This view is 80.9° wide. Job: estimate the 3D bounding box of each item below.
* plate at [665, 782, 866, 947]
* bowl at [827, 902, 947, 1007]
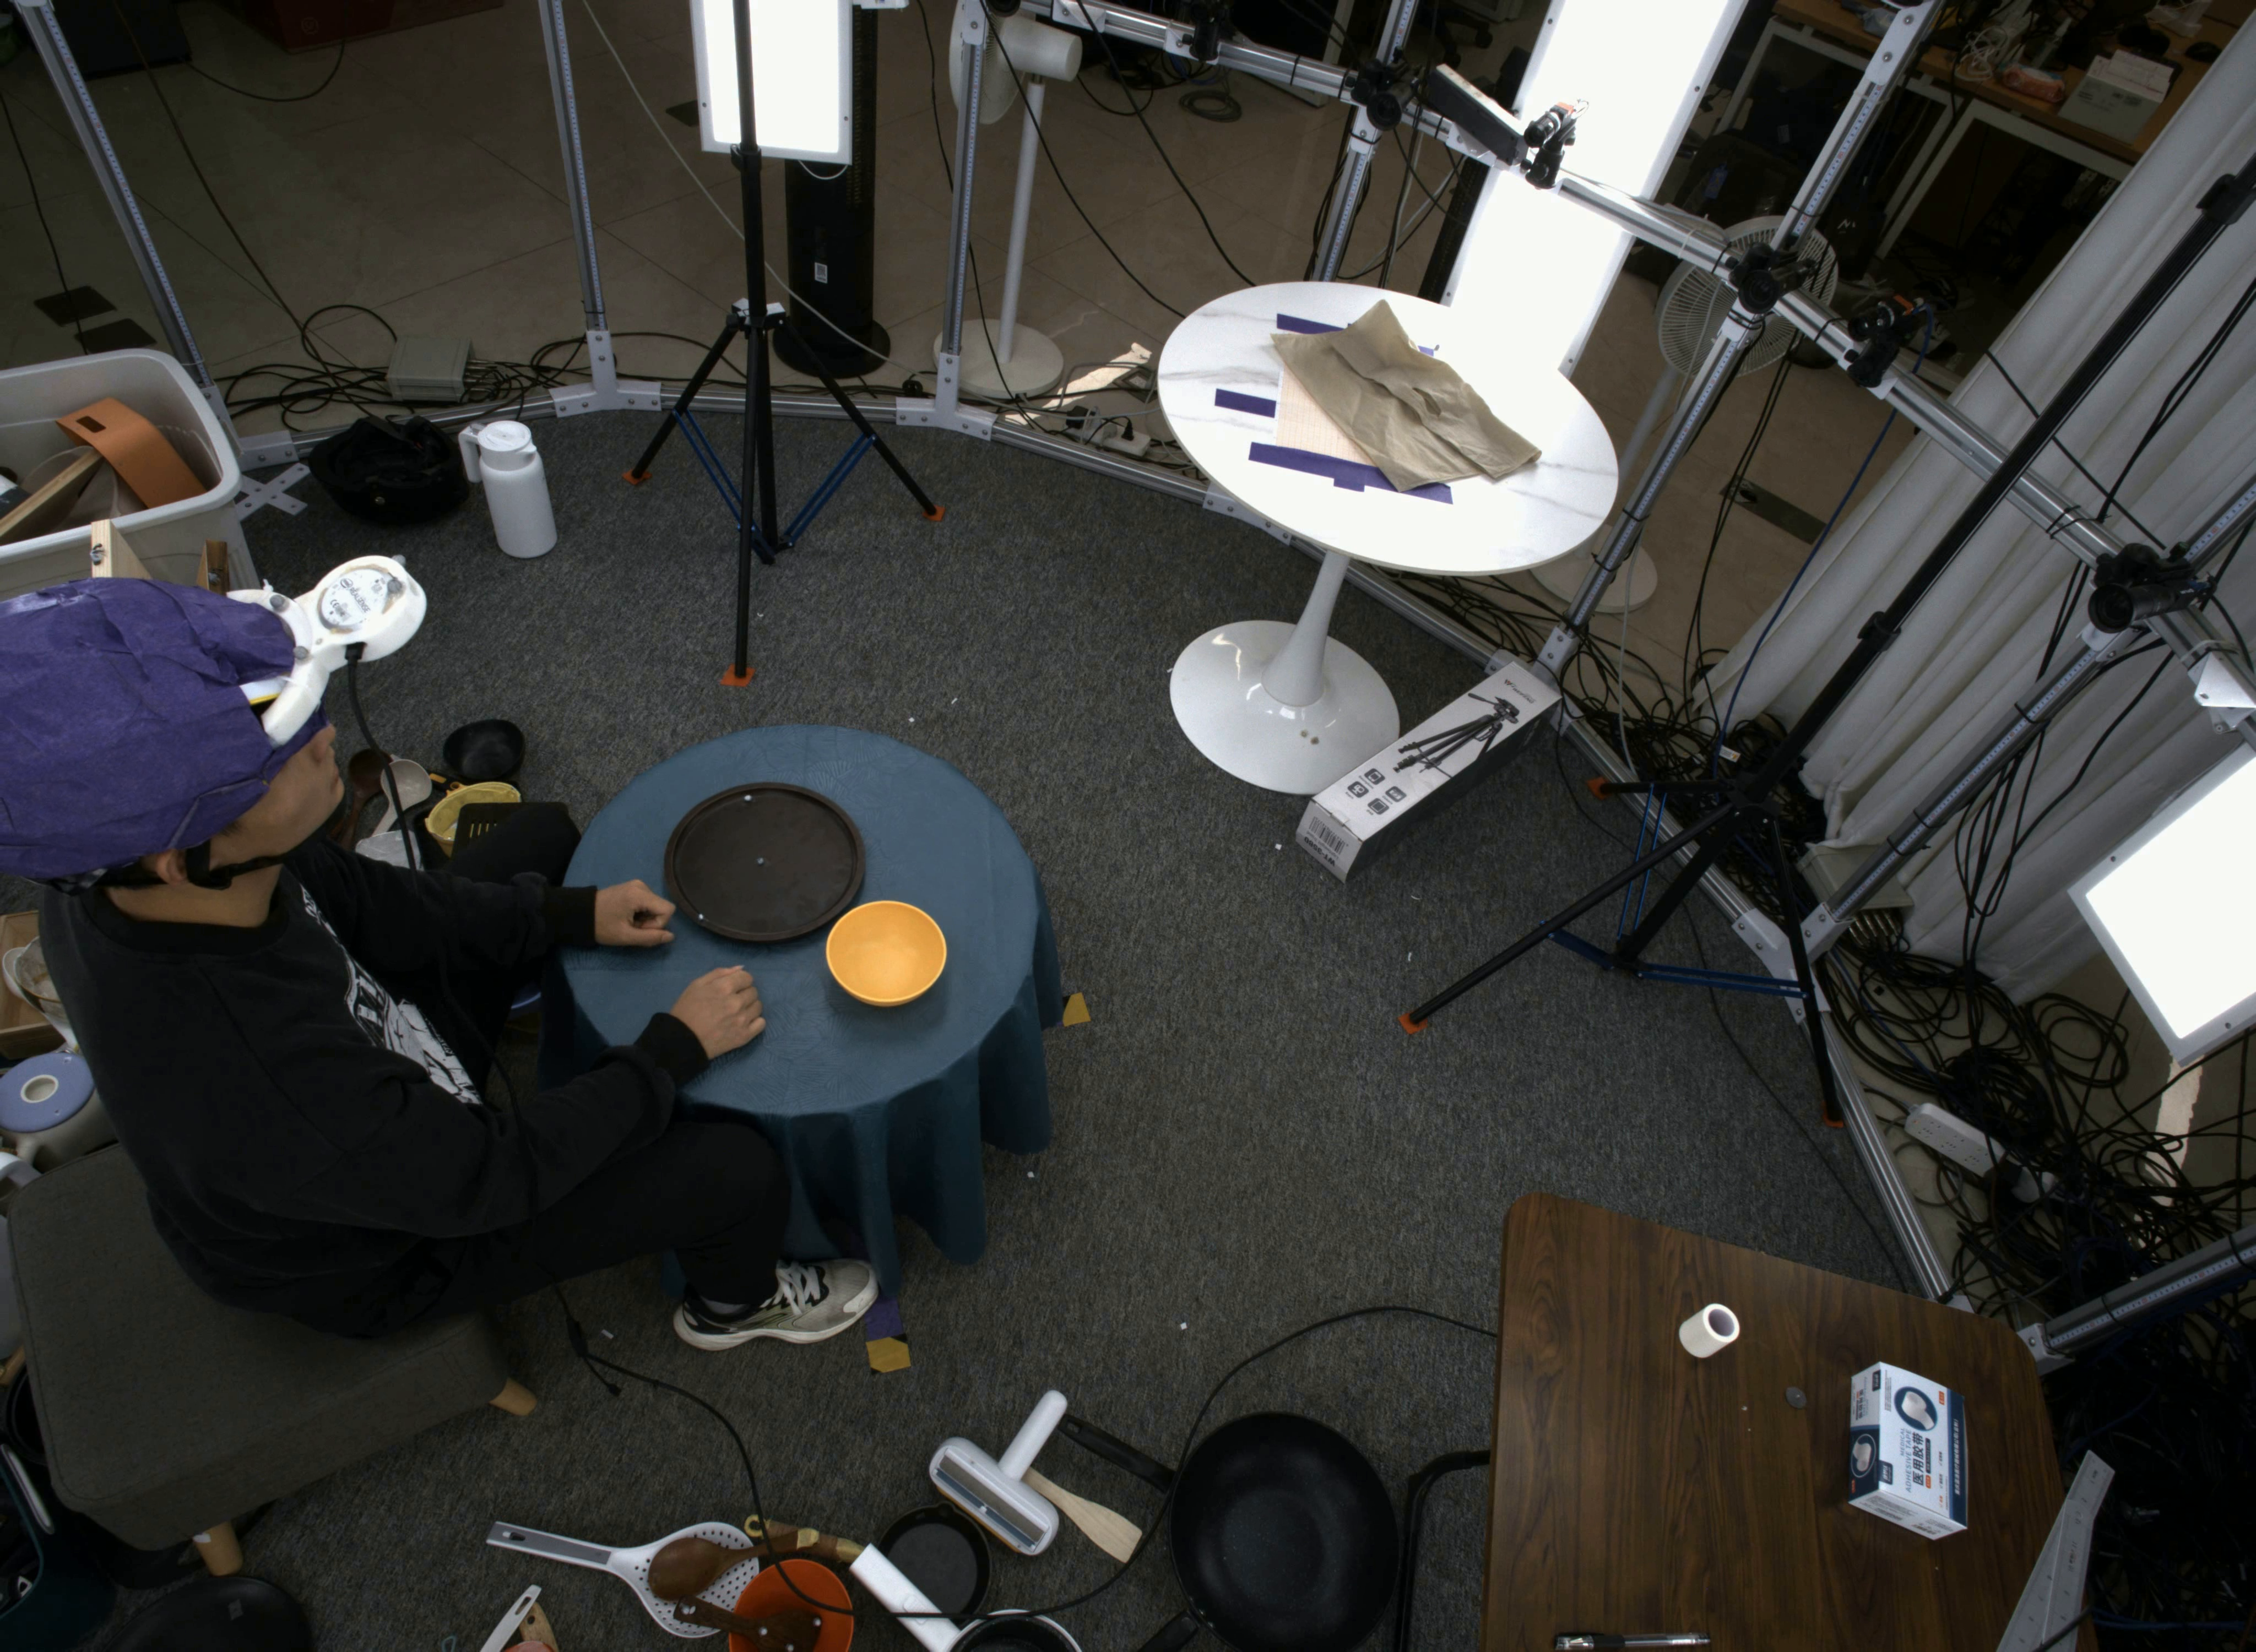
[{"bbox_3d":[-0.466,0.046,1.670,0.254,0.029,0.250,8,54,-9],"label":"plate"},{"bbox_3d":[-0.295,0.167,1.602,0.144,0.061,0.143,6,53,-6],"label":"bowl"}]
